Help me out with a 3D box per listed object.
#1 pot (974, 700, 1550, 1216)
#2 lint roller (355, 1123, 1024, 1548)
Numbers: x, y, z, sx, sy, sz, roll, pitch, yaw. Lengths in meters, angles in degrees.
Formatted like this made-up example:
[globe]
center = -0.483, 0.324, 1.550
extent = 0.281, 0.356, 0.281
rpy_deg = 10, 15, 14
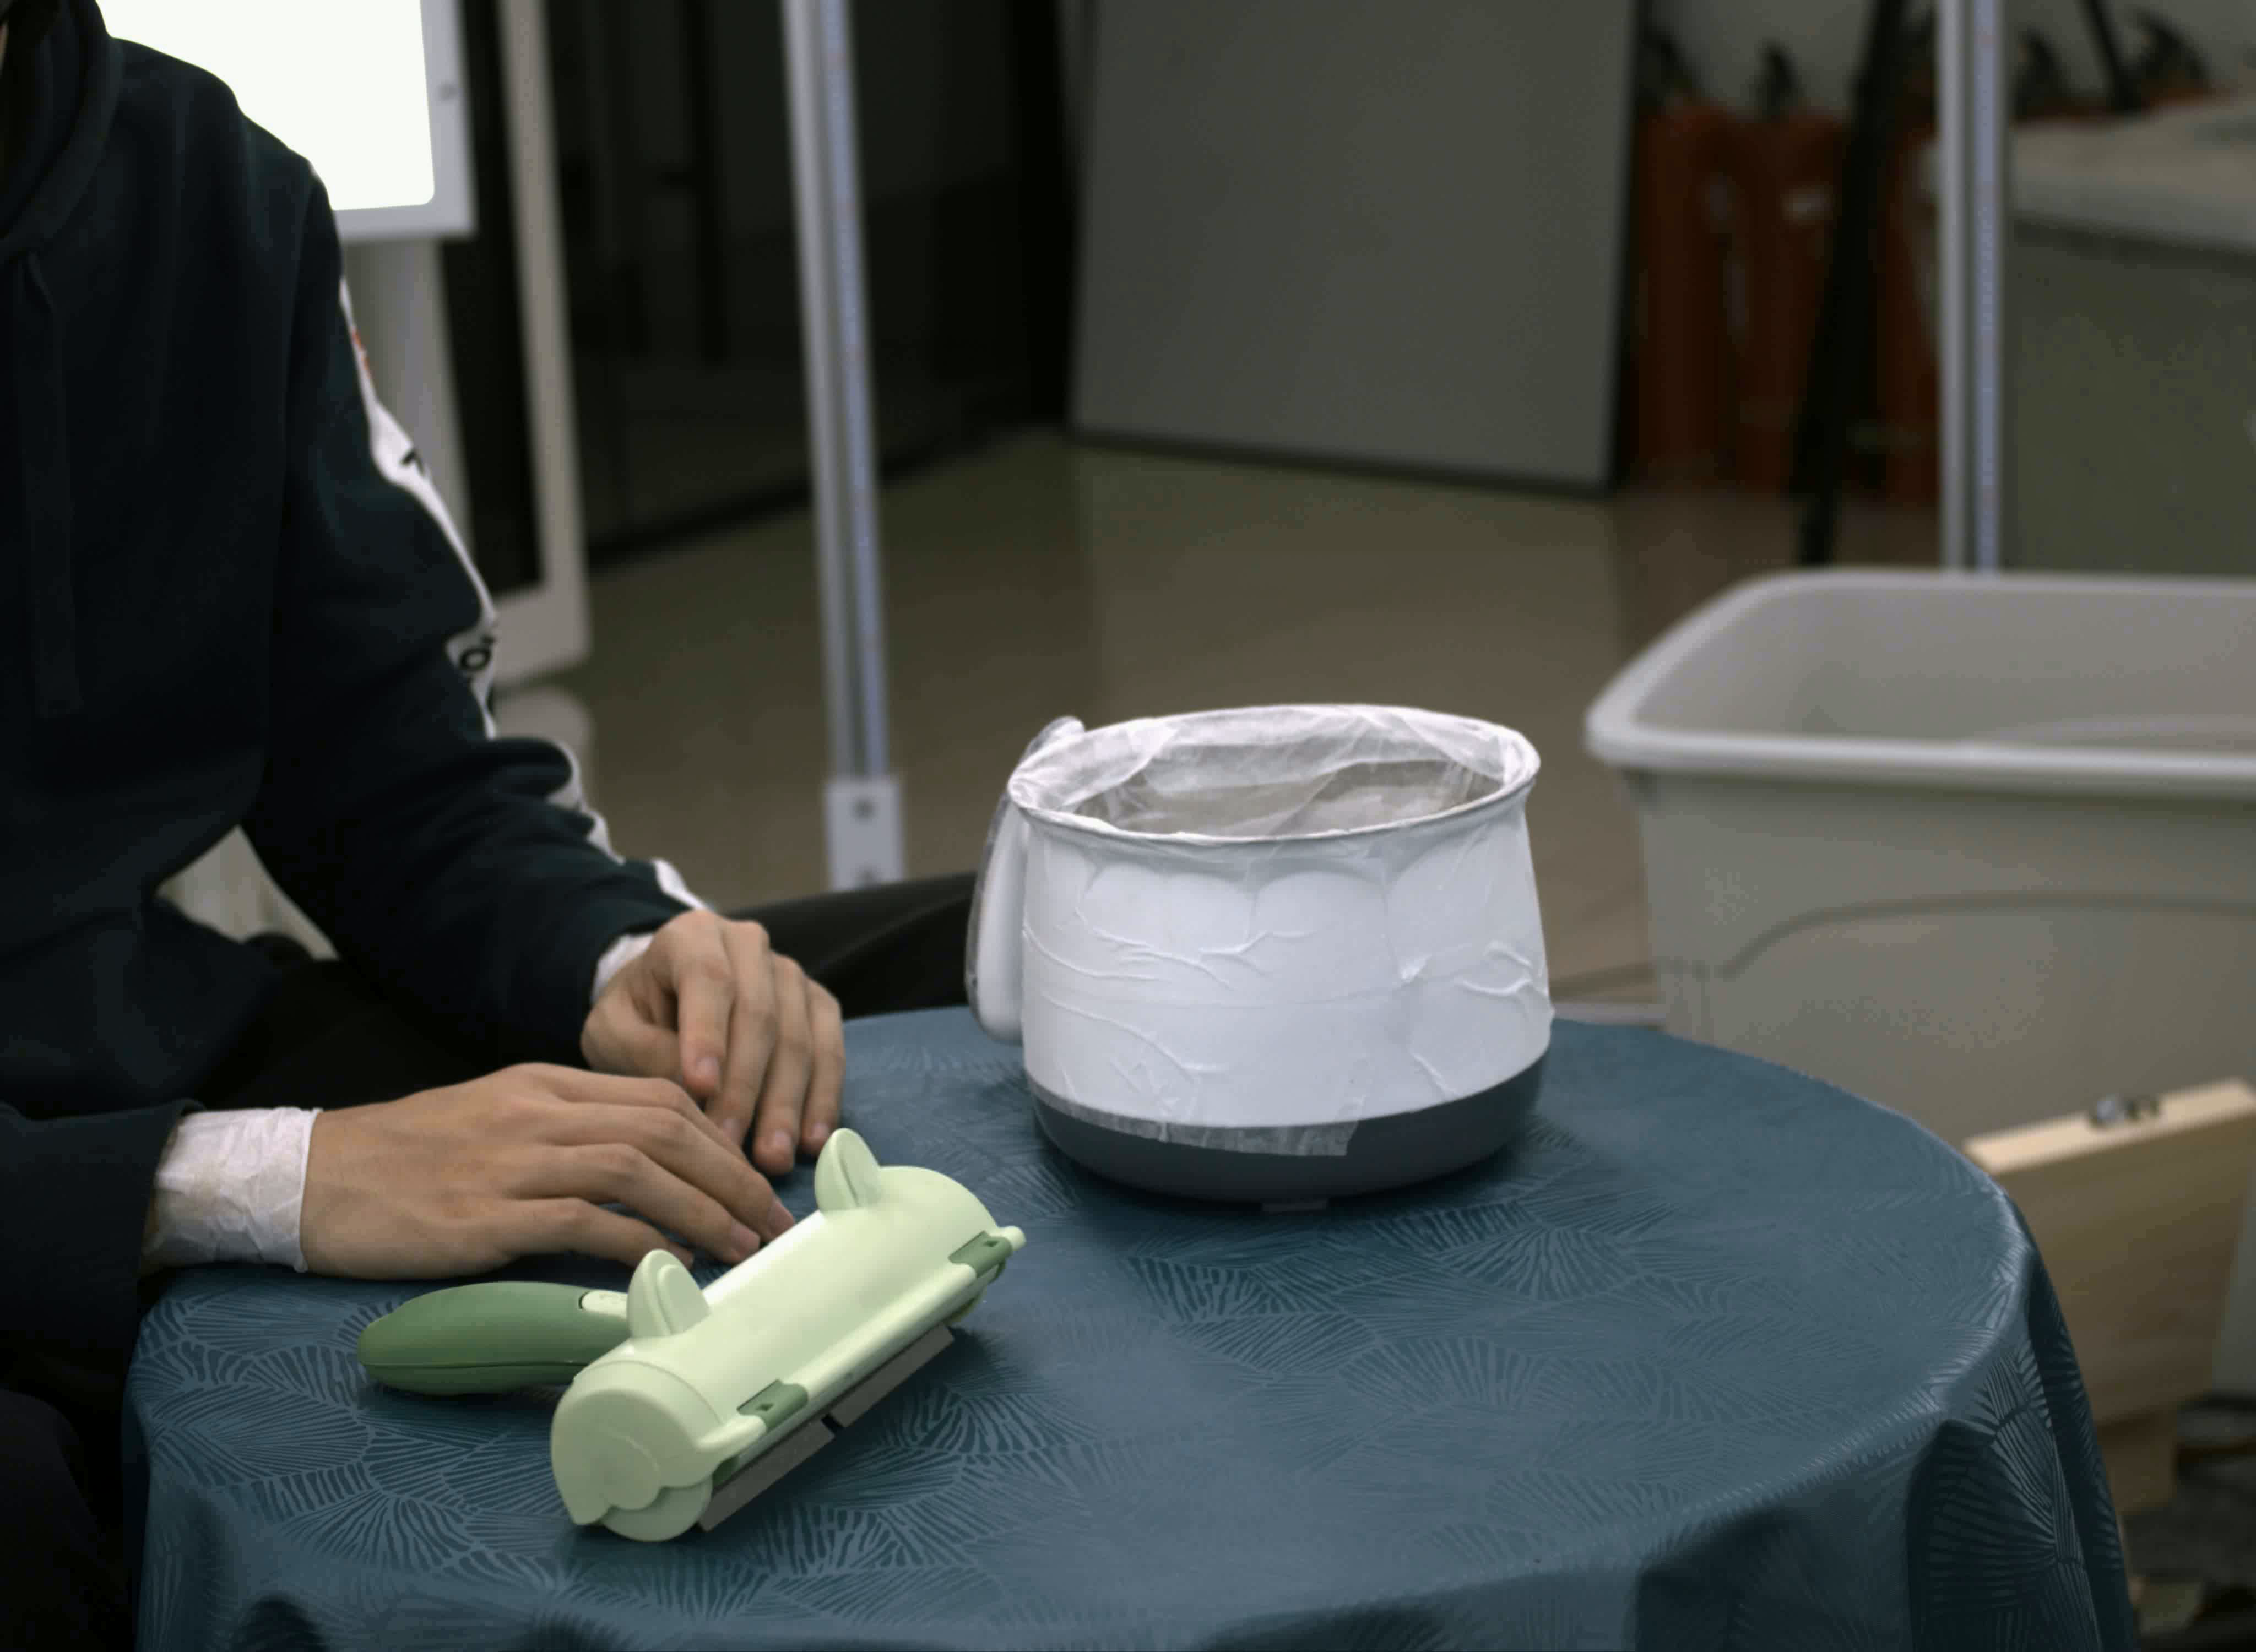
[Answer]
[pot]
center = 0.033, 0.038, 1.808
extent = 0.175, 0.138, 0.236
rpy_deg = -16, 19, -42
[lint roller]
center = -0.150, 0.137, 1.592
extent = 0.183, 0.083, 0.196
rpy_deg = 8, 18, 24
